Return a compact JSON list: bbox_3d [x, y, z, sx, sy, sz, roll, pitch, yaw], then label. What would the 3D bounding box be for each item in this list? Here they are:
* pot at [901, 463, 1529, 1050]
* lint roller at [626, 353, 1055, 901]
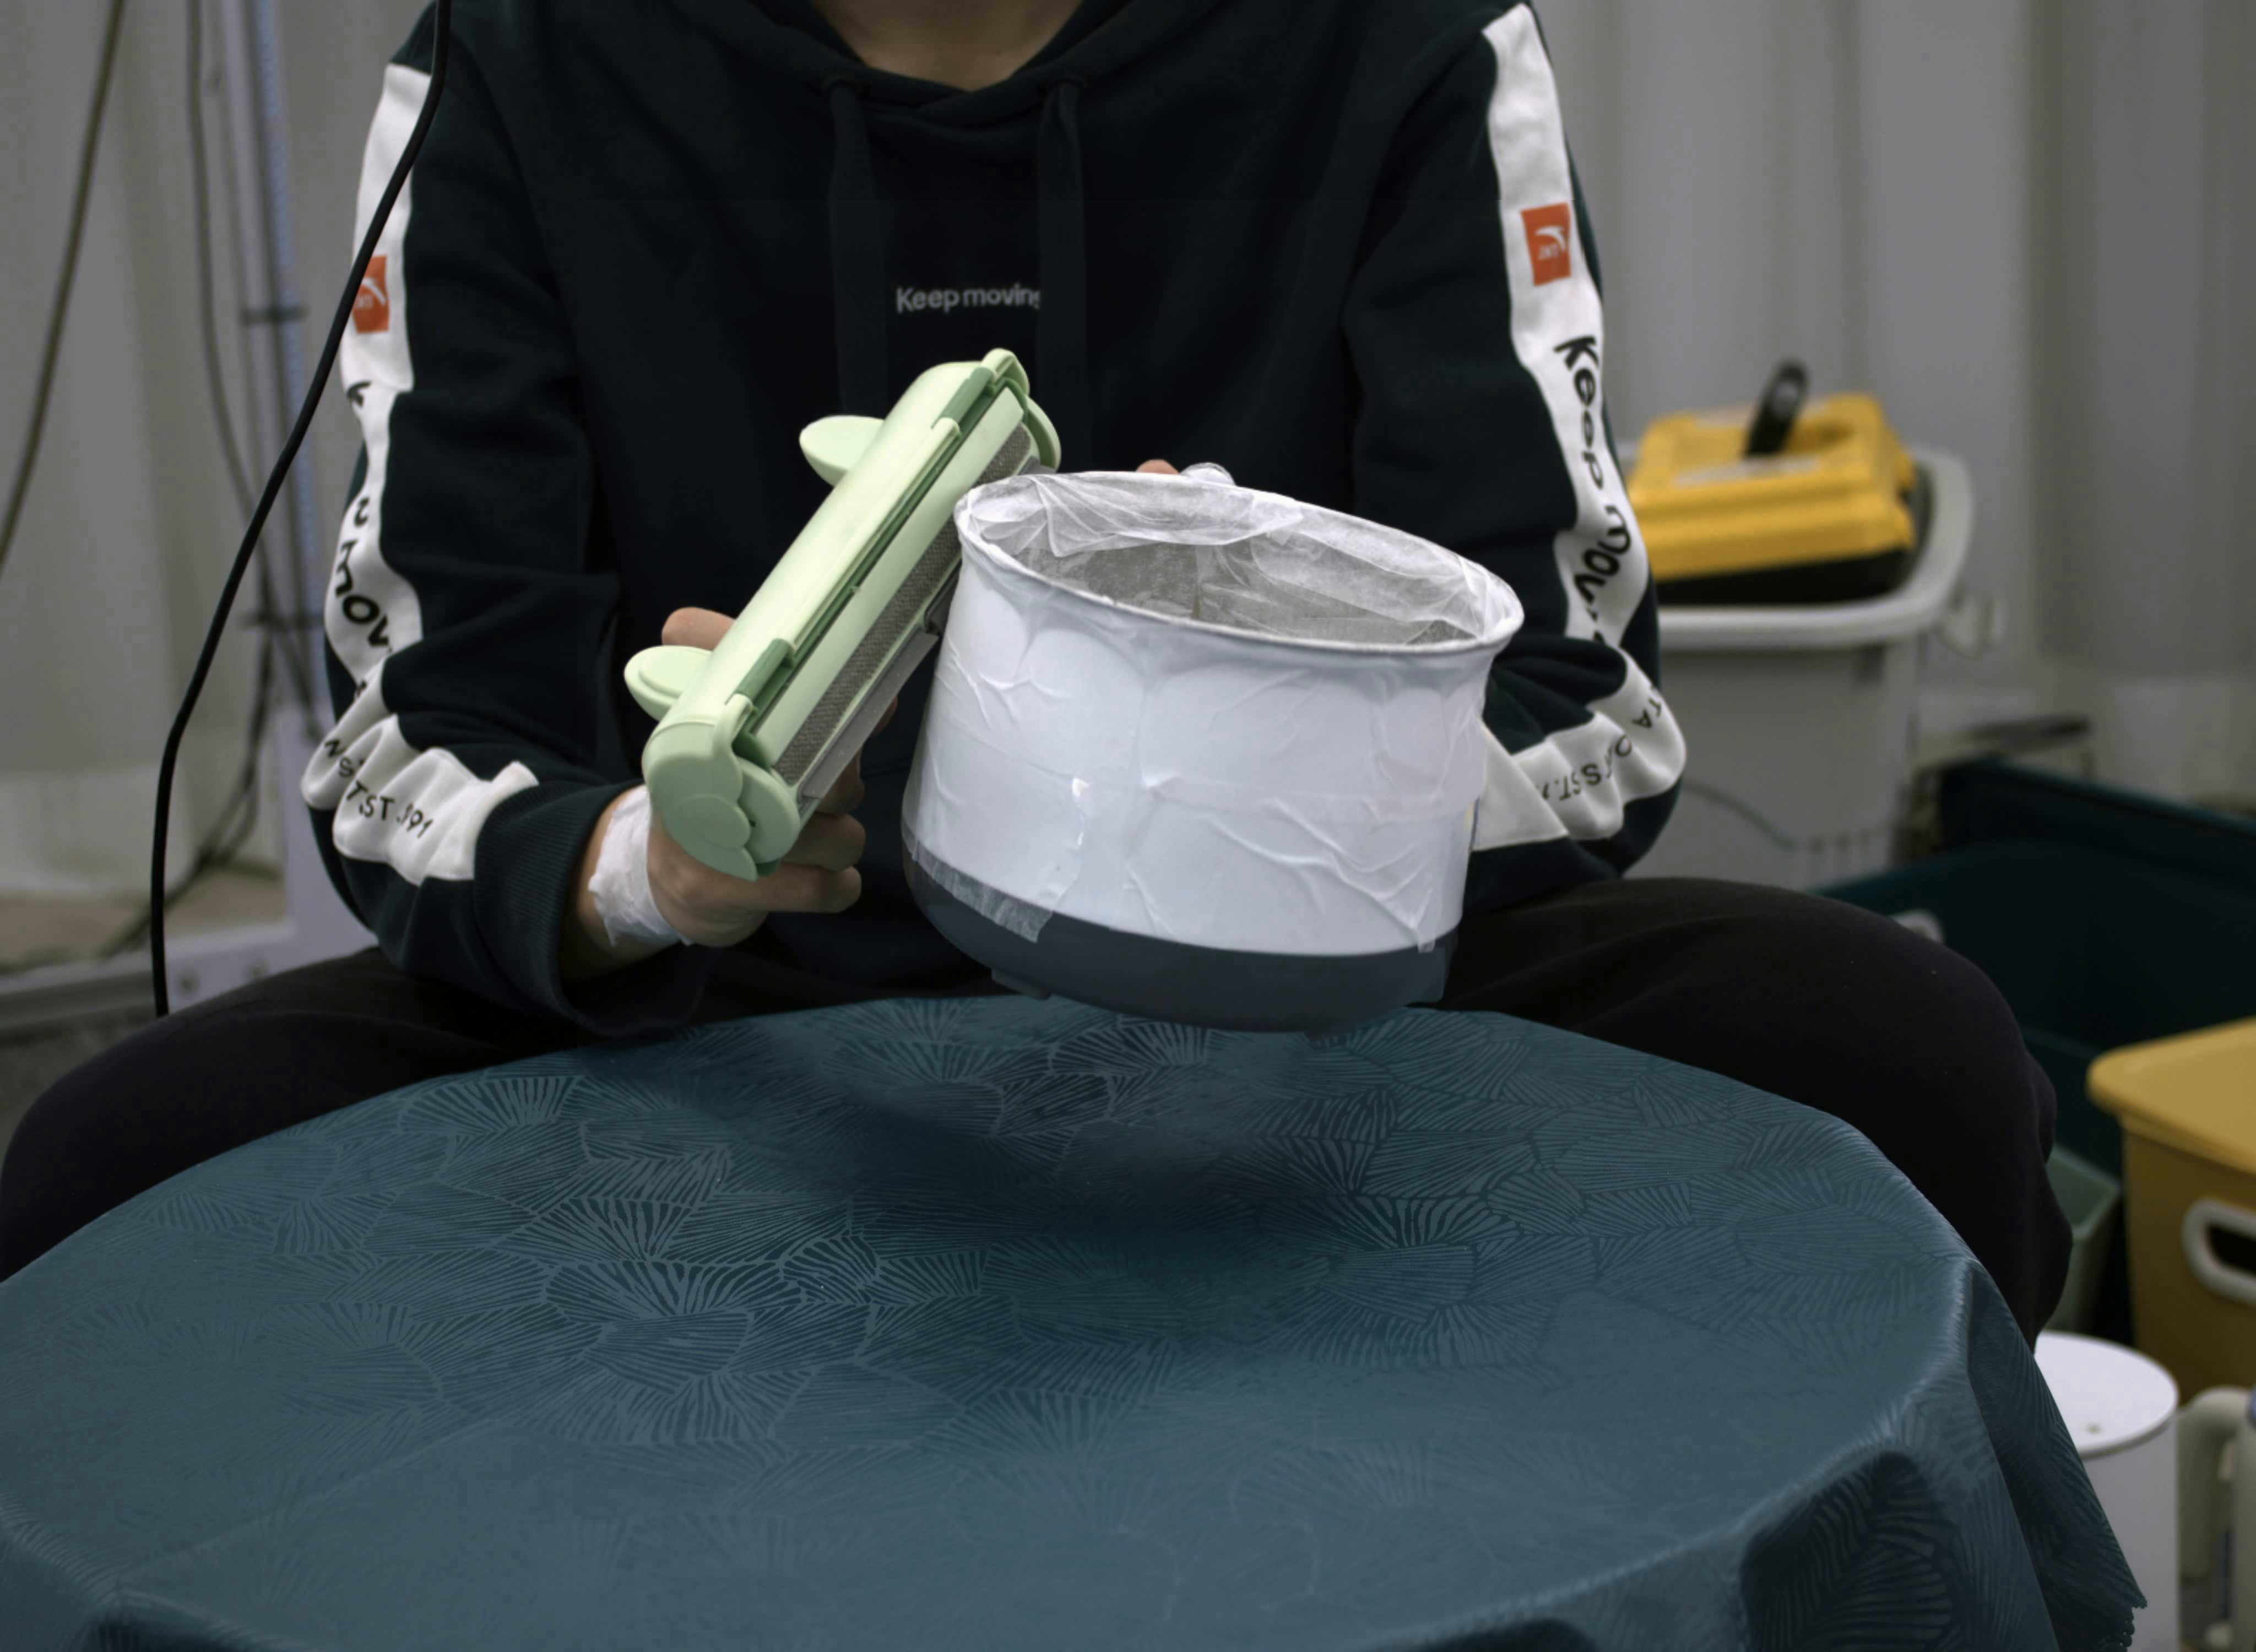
[{"bbox_3d":[0.021,-0.030,1.706,0.178,0.136,0.236,9,18,-8],"label":"pot"},{"bbox_3d":[-0.111,-0.043,1.729,0.082,0.182,0.200,35,50,-3],"label":"lint roller"}]
